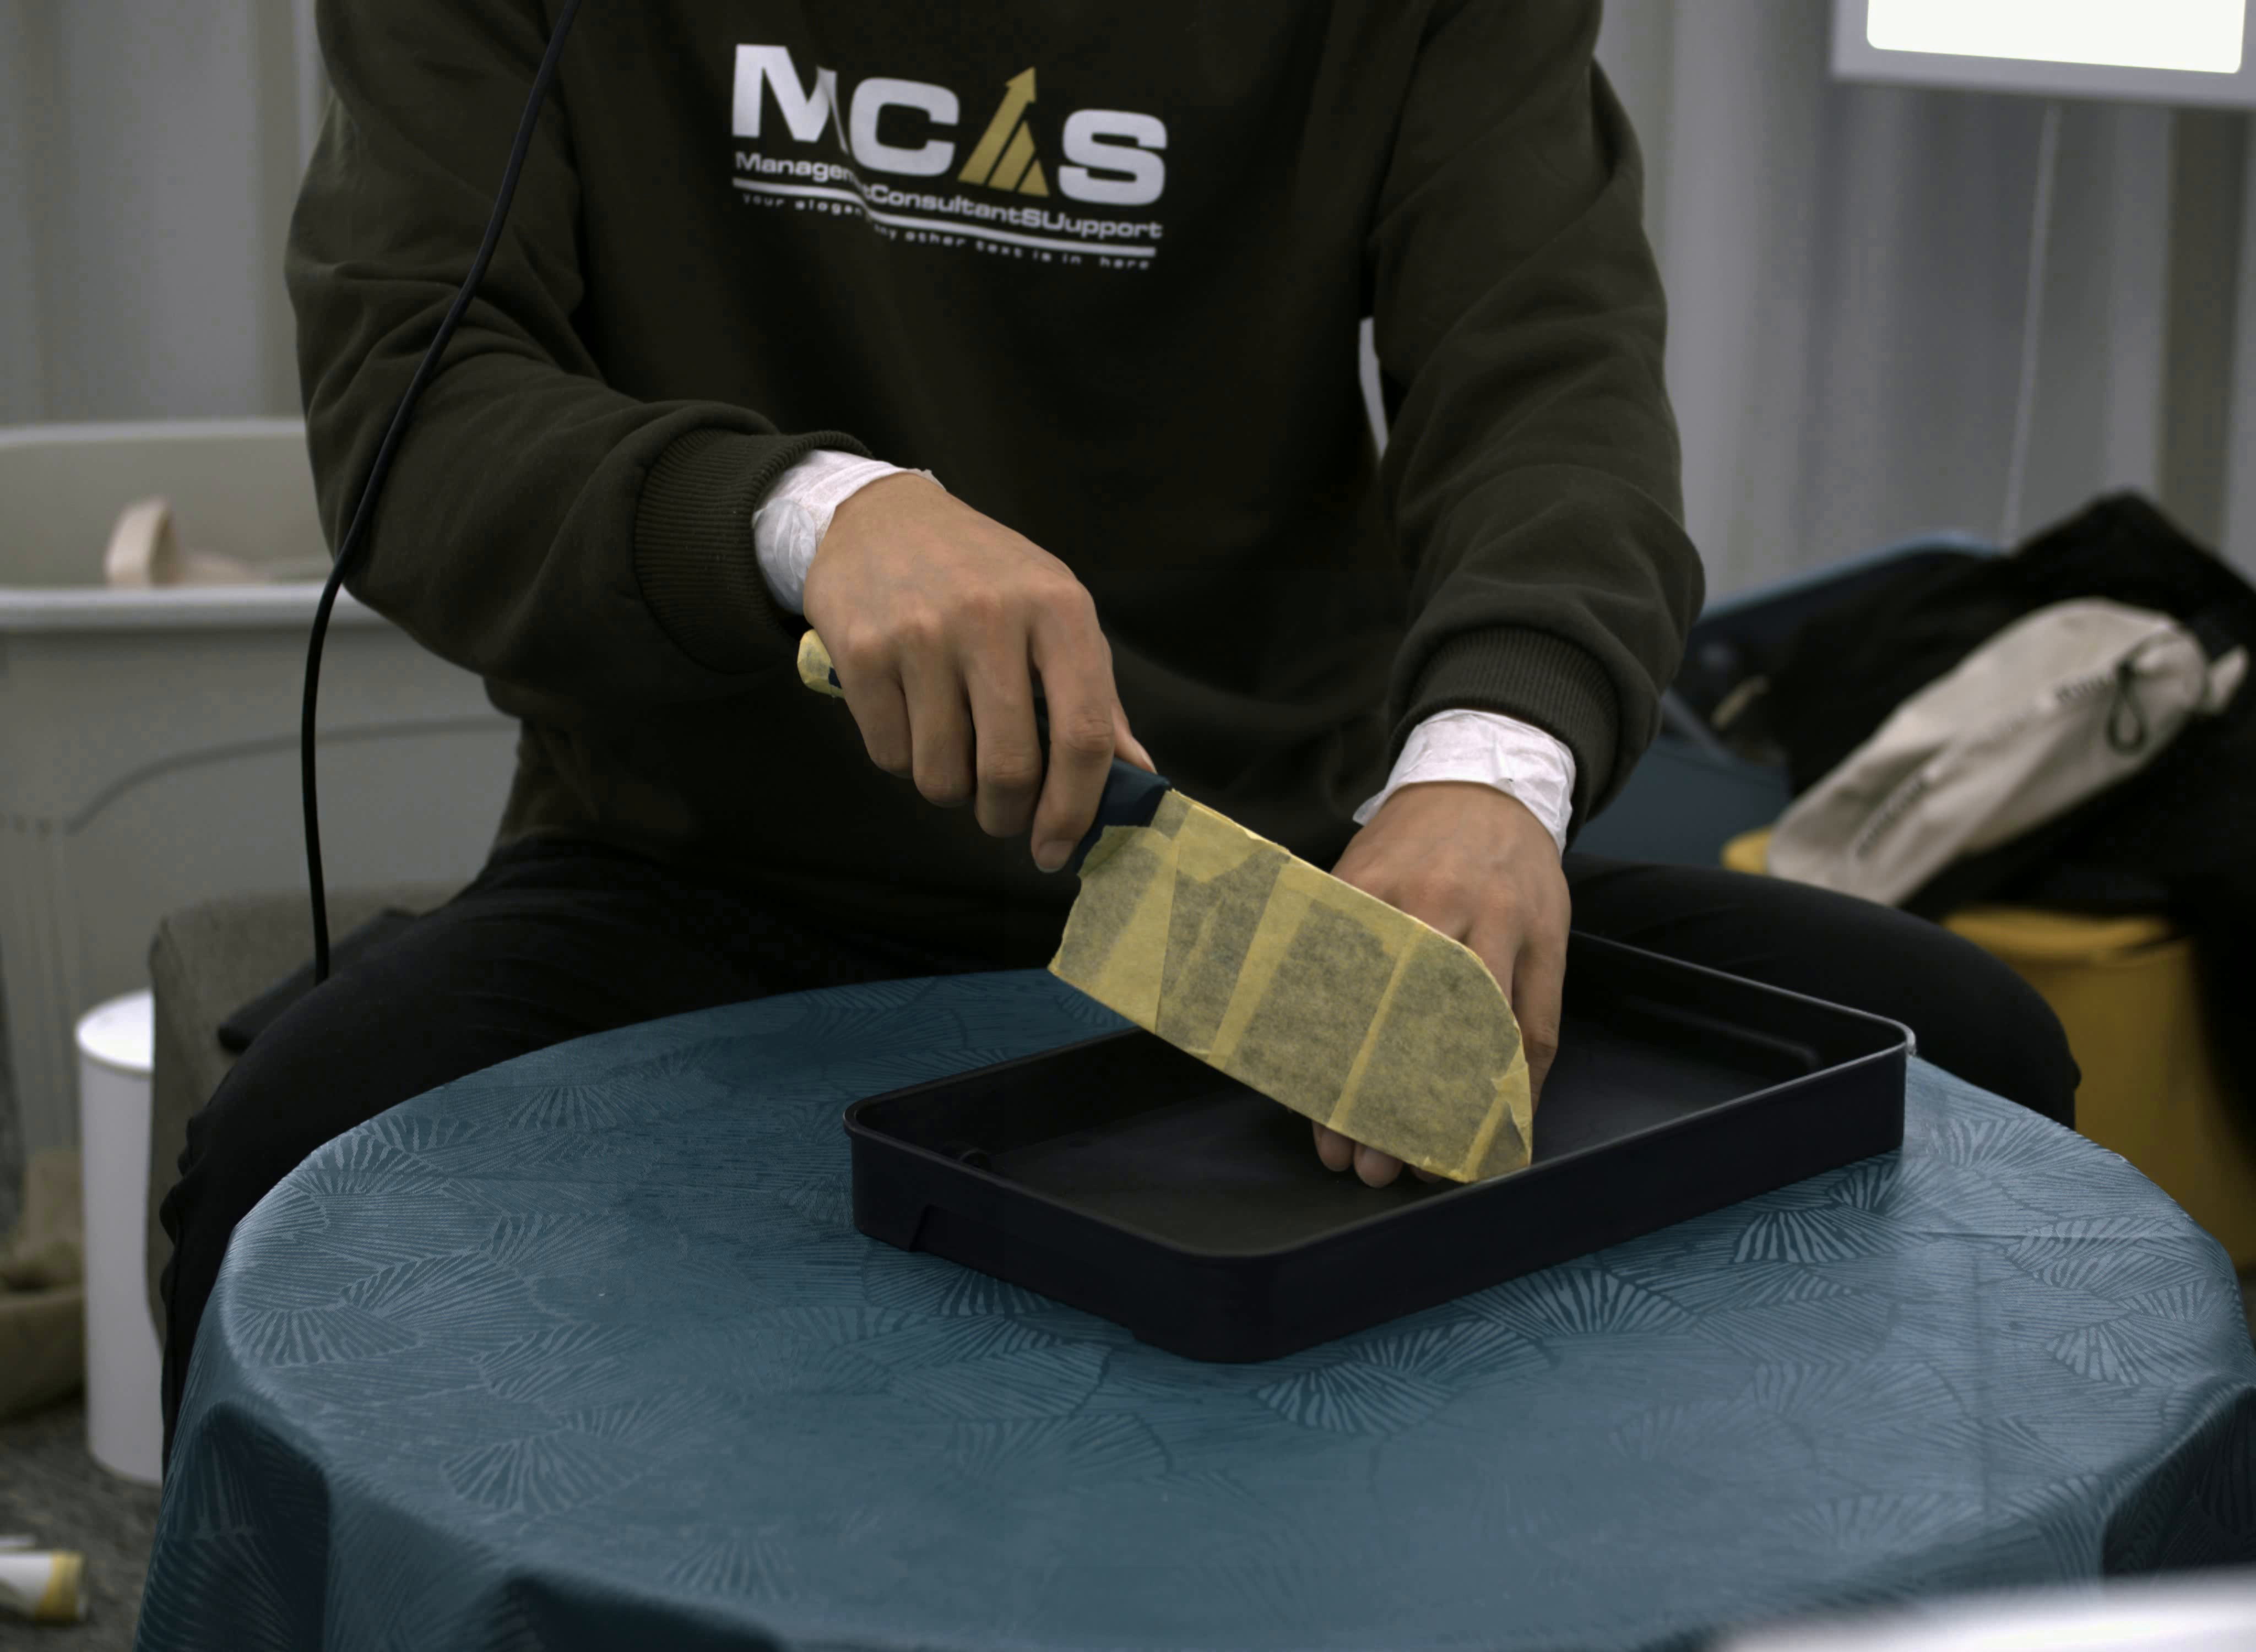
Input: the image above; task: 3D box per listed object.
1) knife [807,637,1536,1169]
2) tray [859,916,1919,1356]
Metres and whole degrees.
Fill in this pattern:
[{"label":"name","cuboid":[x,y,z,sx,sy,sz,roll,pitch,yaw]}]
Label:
[{"label":"knife","cuboid":[0.009,0.022,1.640,0.286,0.081,0.027,32,15,22]},{"label":"tray","cuboid":[0.085,0.090,1.637,0.182,0.037,0.319,16,21,43]}]
